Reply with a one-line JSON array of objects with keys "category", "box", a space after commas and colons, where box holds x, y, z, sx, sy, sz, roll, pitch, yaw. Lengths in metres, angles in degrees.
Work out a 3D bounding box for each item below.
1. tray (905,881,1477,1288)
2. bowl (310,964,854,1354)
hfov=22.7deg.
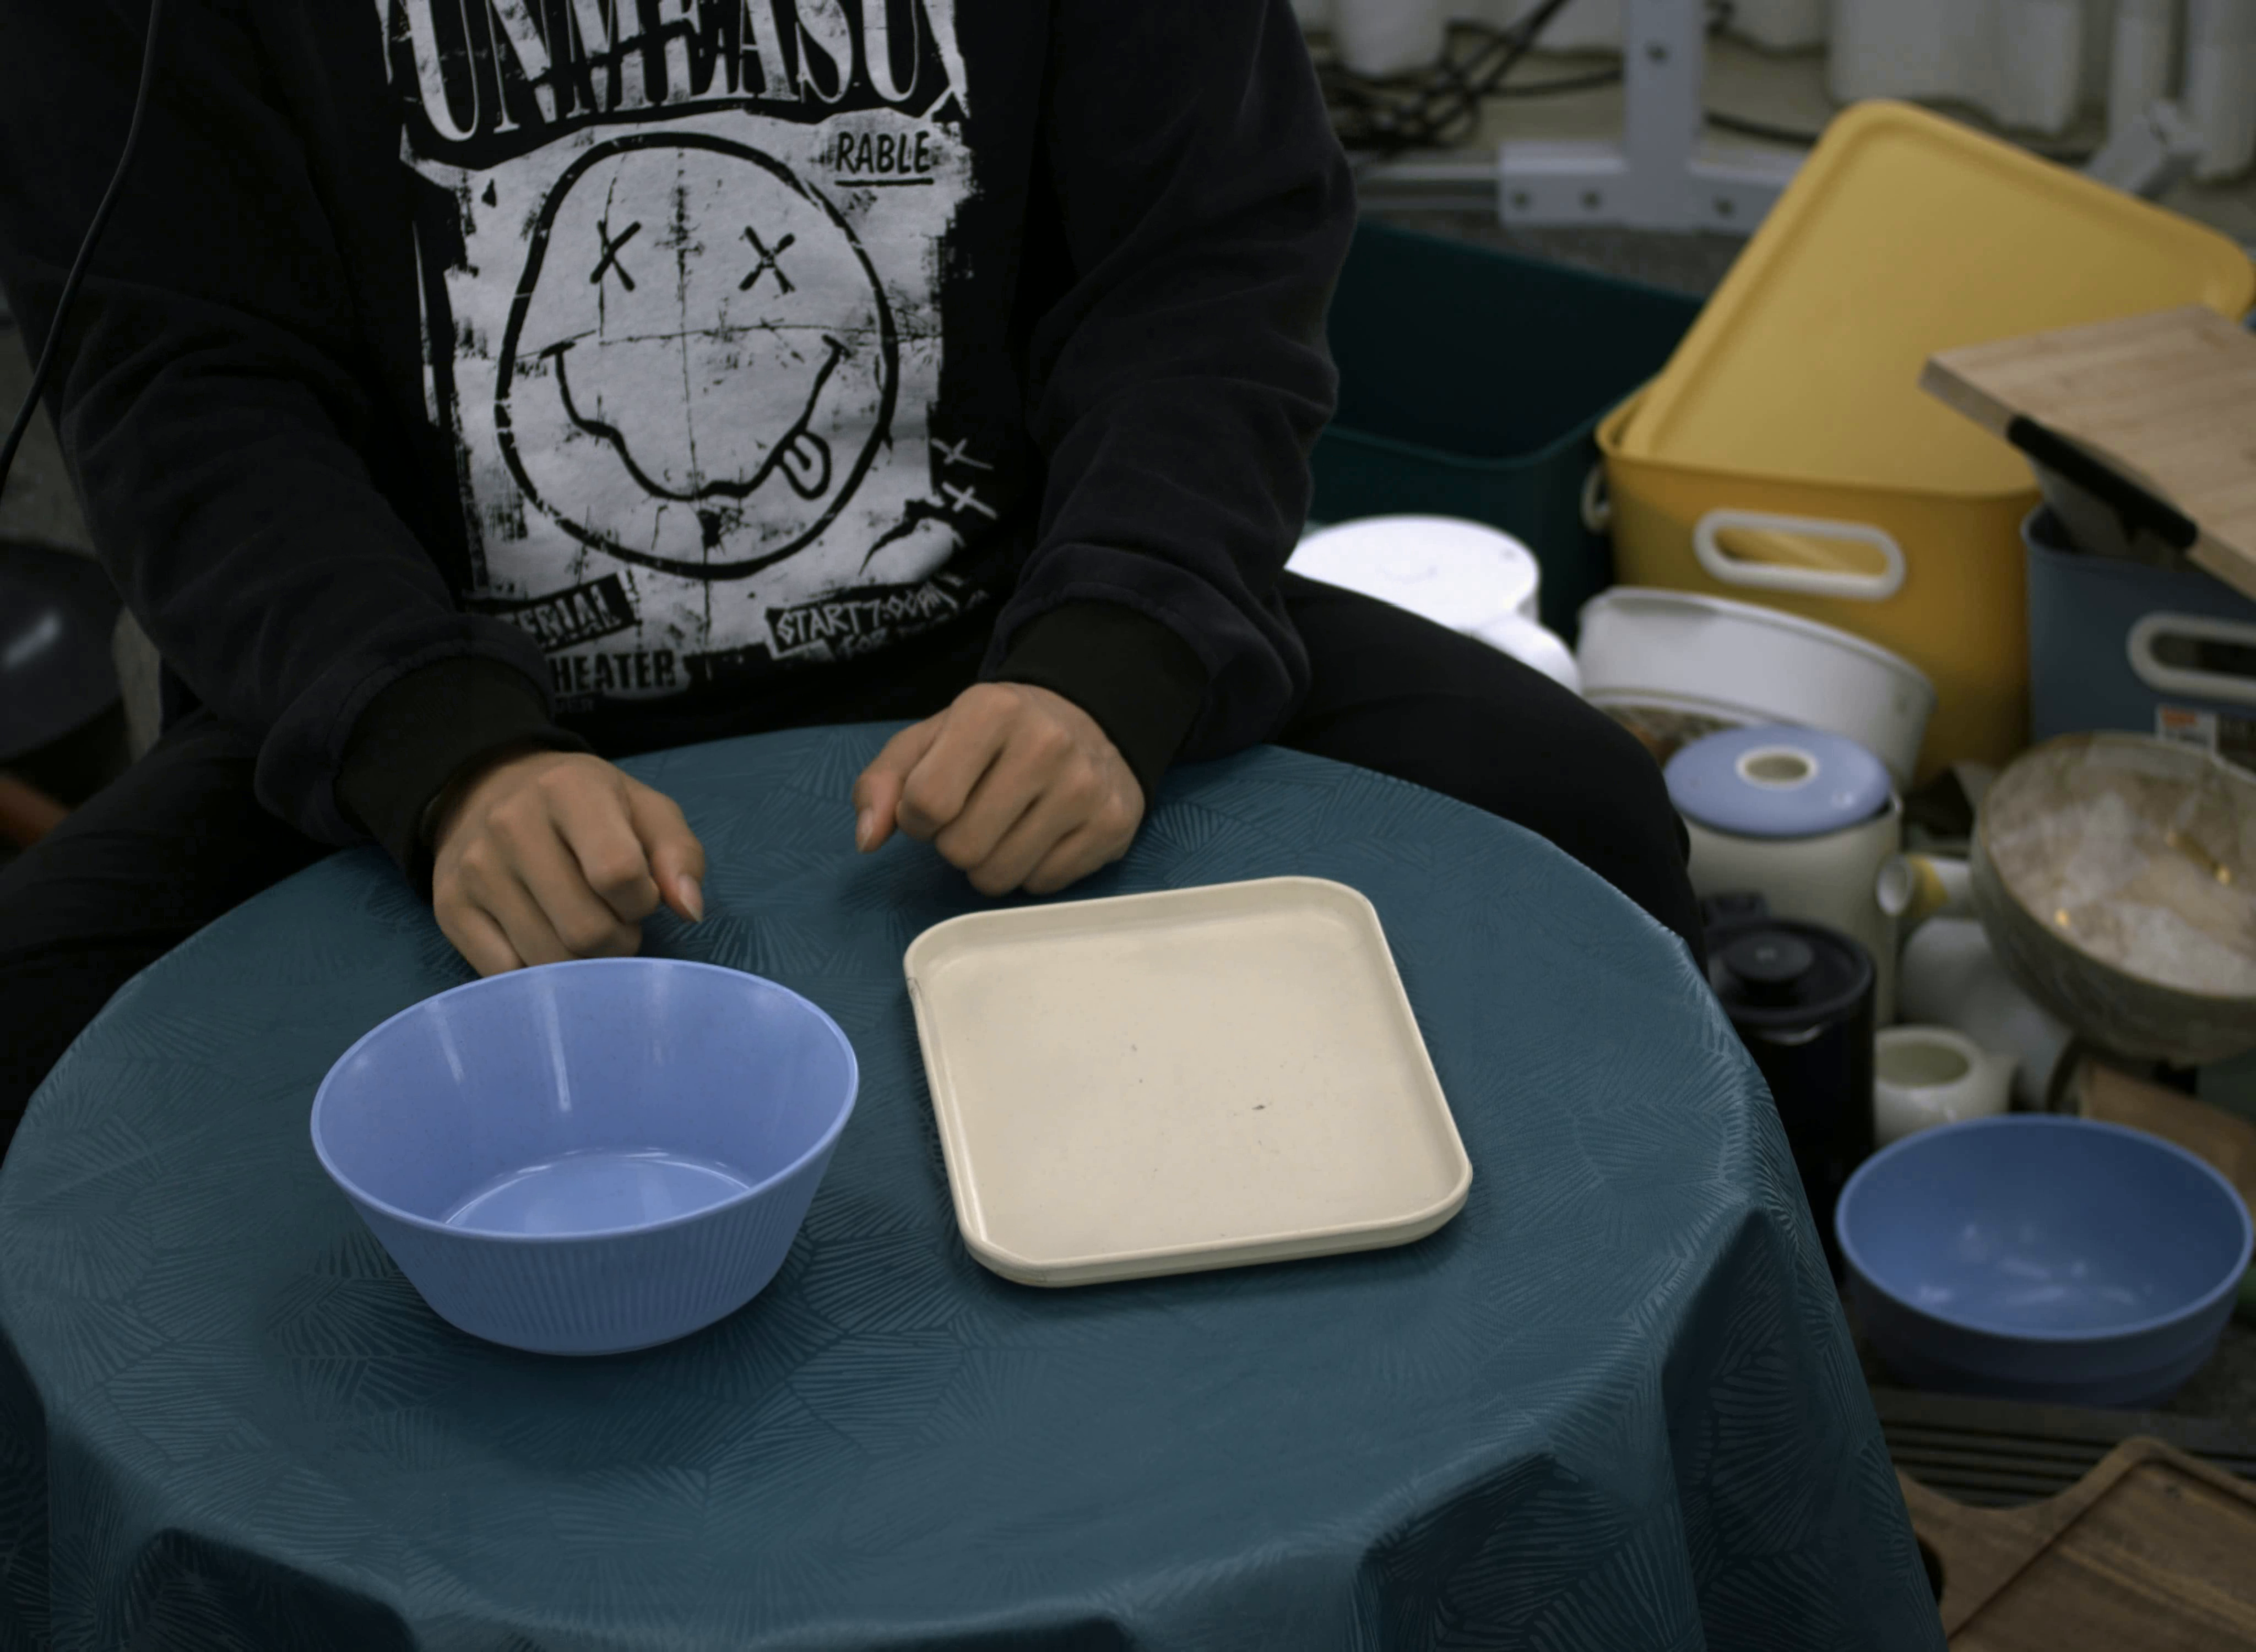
[{"category": "tray", "box": [0.018, 0.087, 1.908, 0.171, 0.017, 0.243, -5, 27, -6]}, {"category": "bowl", "box": [-0.174, 0.114, 1.816, 0.175, 0.069, 0.179, -1, 27, 1]}]
